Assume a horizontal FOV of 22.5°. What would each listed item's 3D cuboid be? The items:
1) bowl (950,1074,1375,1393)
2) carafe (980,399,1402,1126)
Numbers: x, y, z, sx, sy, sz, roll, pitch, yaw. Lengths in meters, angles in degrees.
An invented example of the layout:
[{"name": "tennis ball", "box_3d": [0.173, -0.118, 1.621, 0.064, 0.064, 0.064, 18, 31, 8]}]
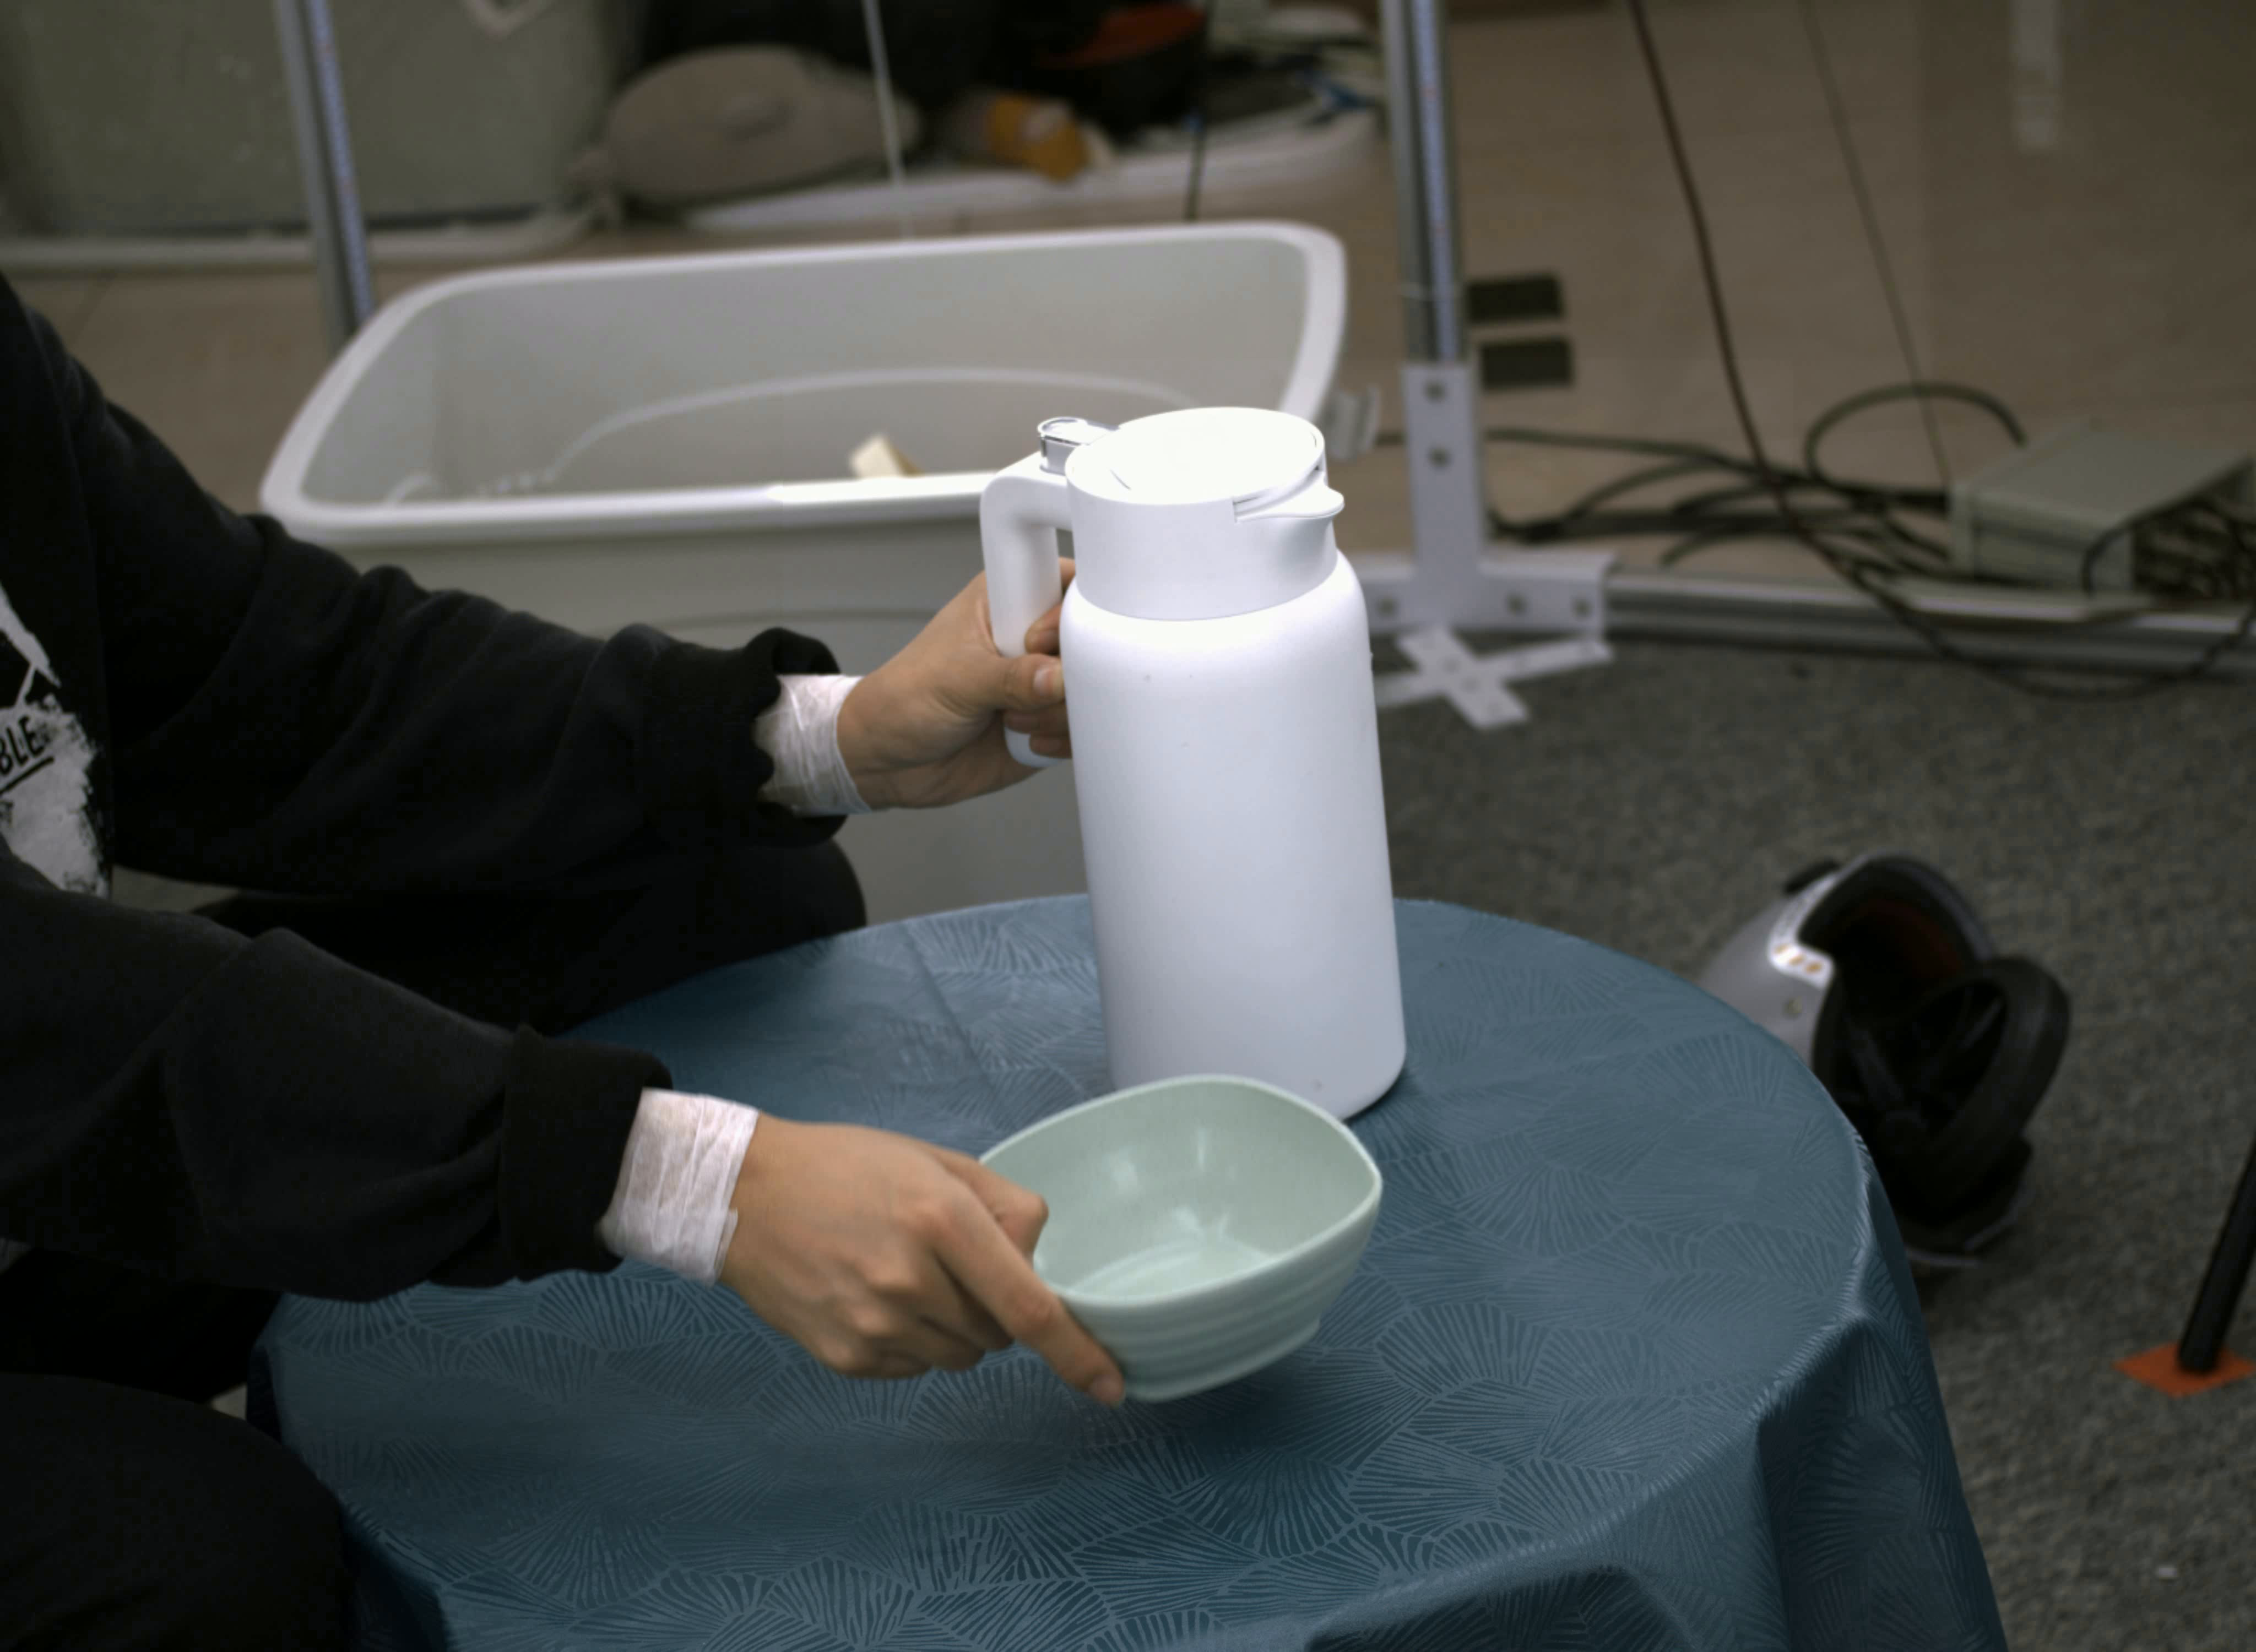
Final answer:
[{"name": "bowl", "box_3d": [0.015, 0.148, 1.988, 0.151, 0.059, 0.149, -6, 27, 3]}, {"name": "carafe", "box_3d": [0.024, -0.023, 2.170, 0.171, 0.273, 0.122, 15, 35, 37]}]
